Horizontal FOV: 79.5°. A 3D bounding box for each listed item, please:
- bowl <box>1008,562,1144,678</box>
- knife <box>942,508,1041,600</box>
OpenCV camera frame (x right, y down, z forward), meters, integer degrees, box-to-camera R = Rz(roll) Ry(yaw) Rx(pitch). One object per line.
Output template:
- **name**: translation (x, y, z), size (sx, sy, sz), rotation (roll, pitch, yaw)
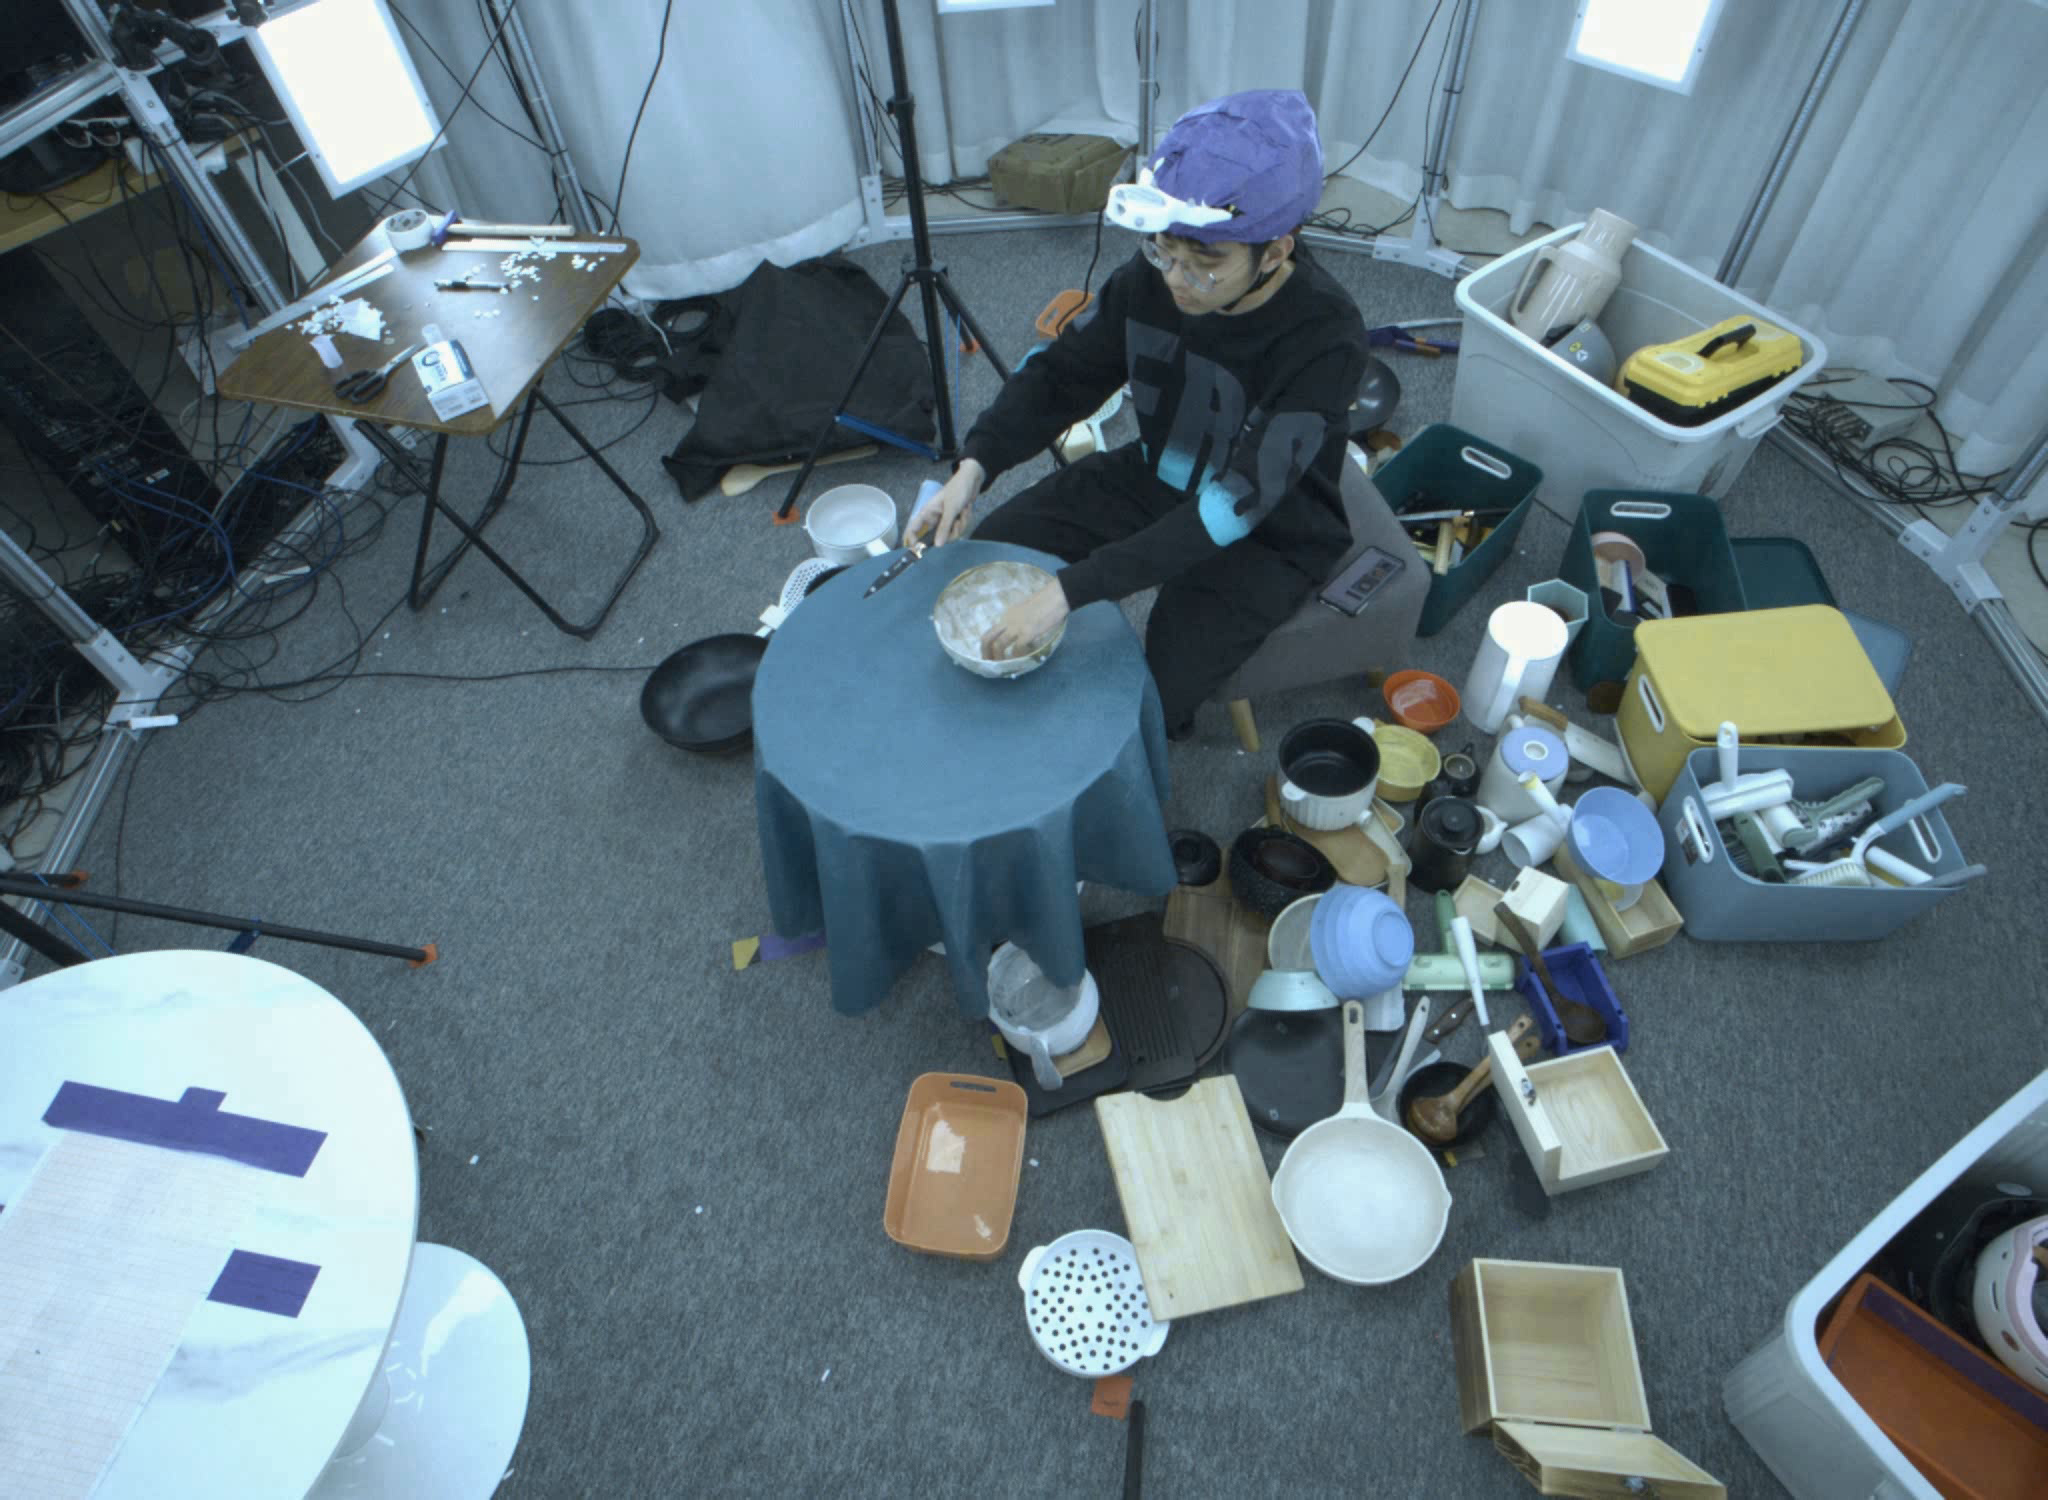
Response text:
- **bowl**: translation (0.082, -0.183, 1.854), size (0.214, 0.096, 0.212), rotation (-1, 55, 3)
- **knife**: translation (-0.053, -0.306, 1.899), size (0.026, 0.017, 0.227), rotation (44, 69, 6)
